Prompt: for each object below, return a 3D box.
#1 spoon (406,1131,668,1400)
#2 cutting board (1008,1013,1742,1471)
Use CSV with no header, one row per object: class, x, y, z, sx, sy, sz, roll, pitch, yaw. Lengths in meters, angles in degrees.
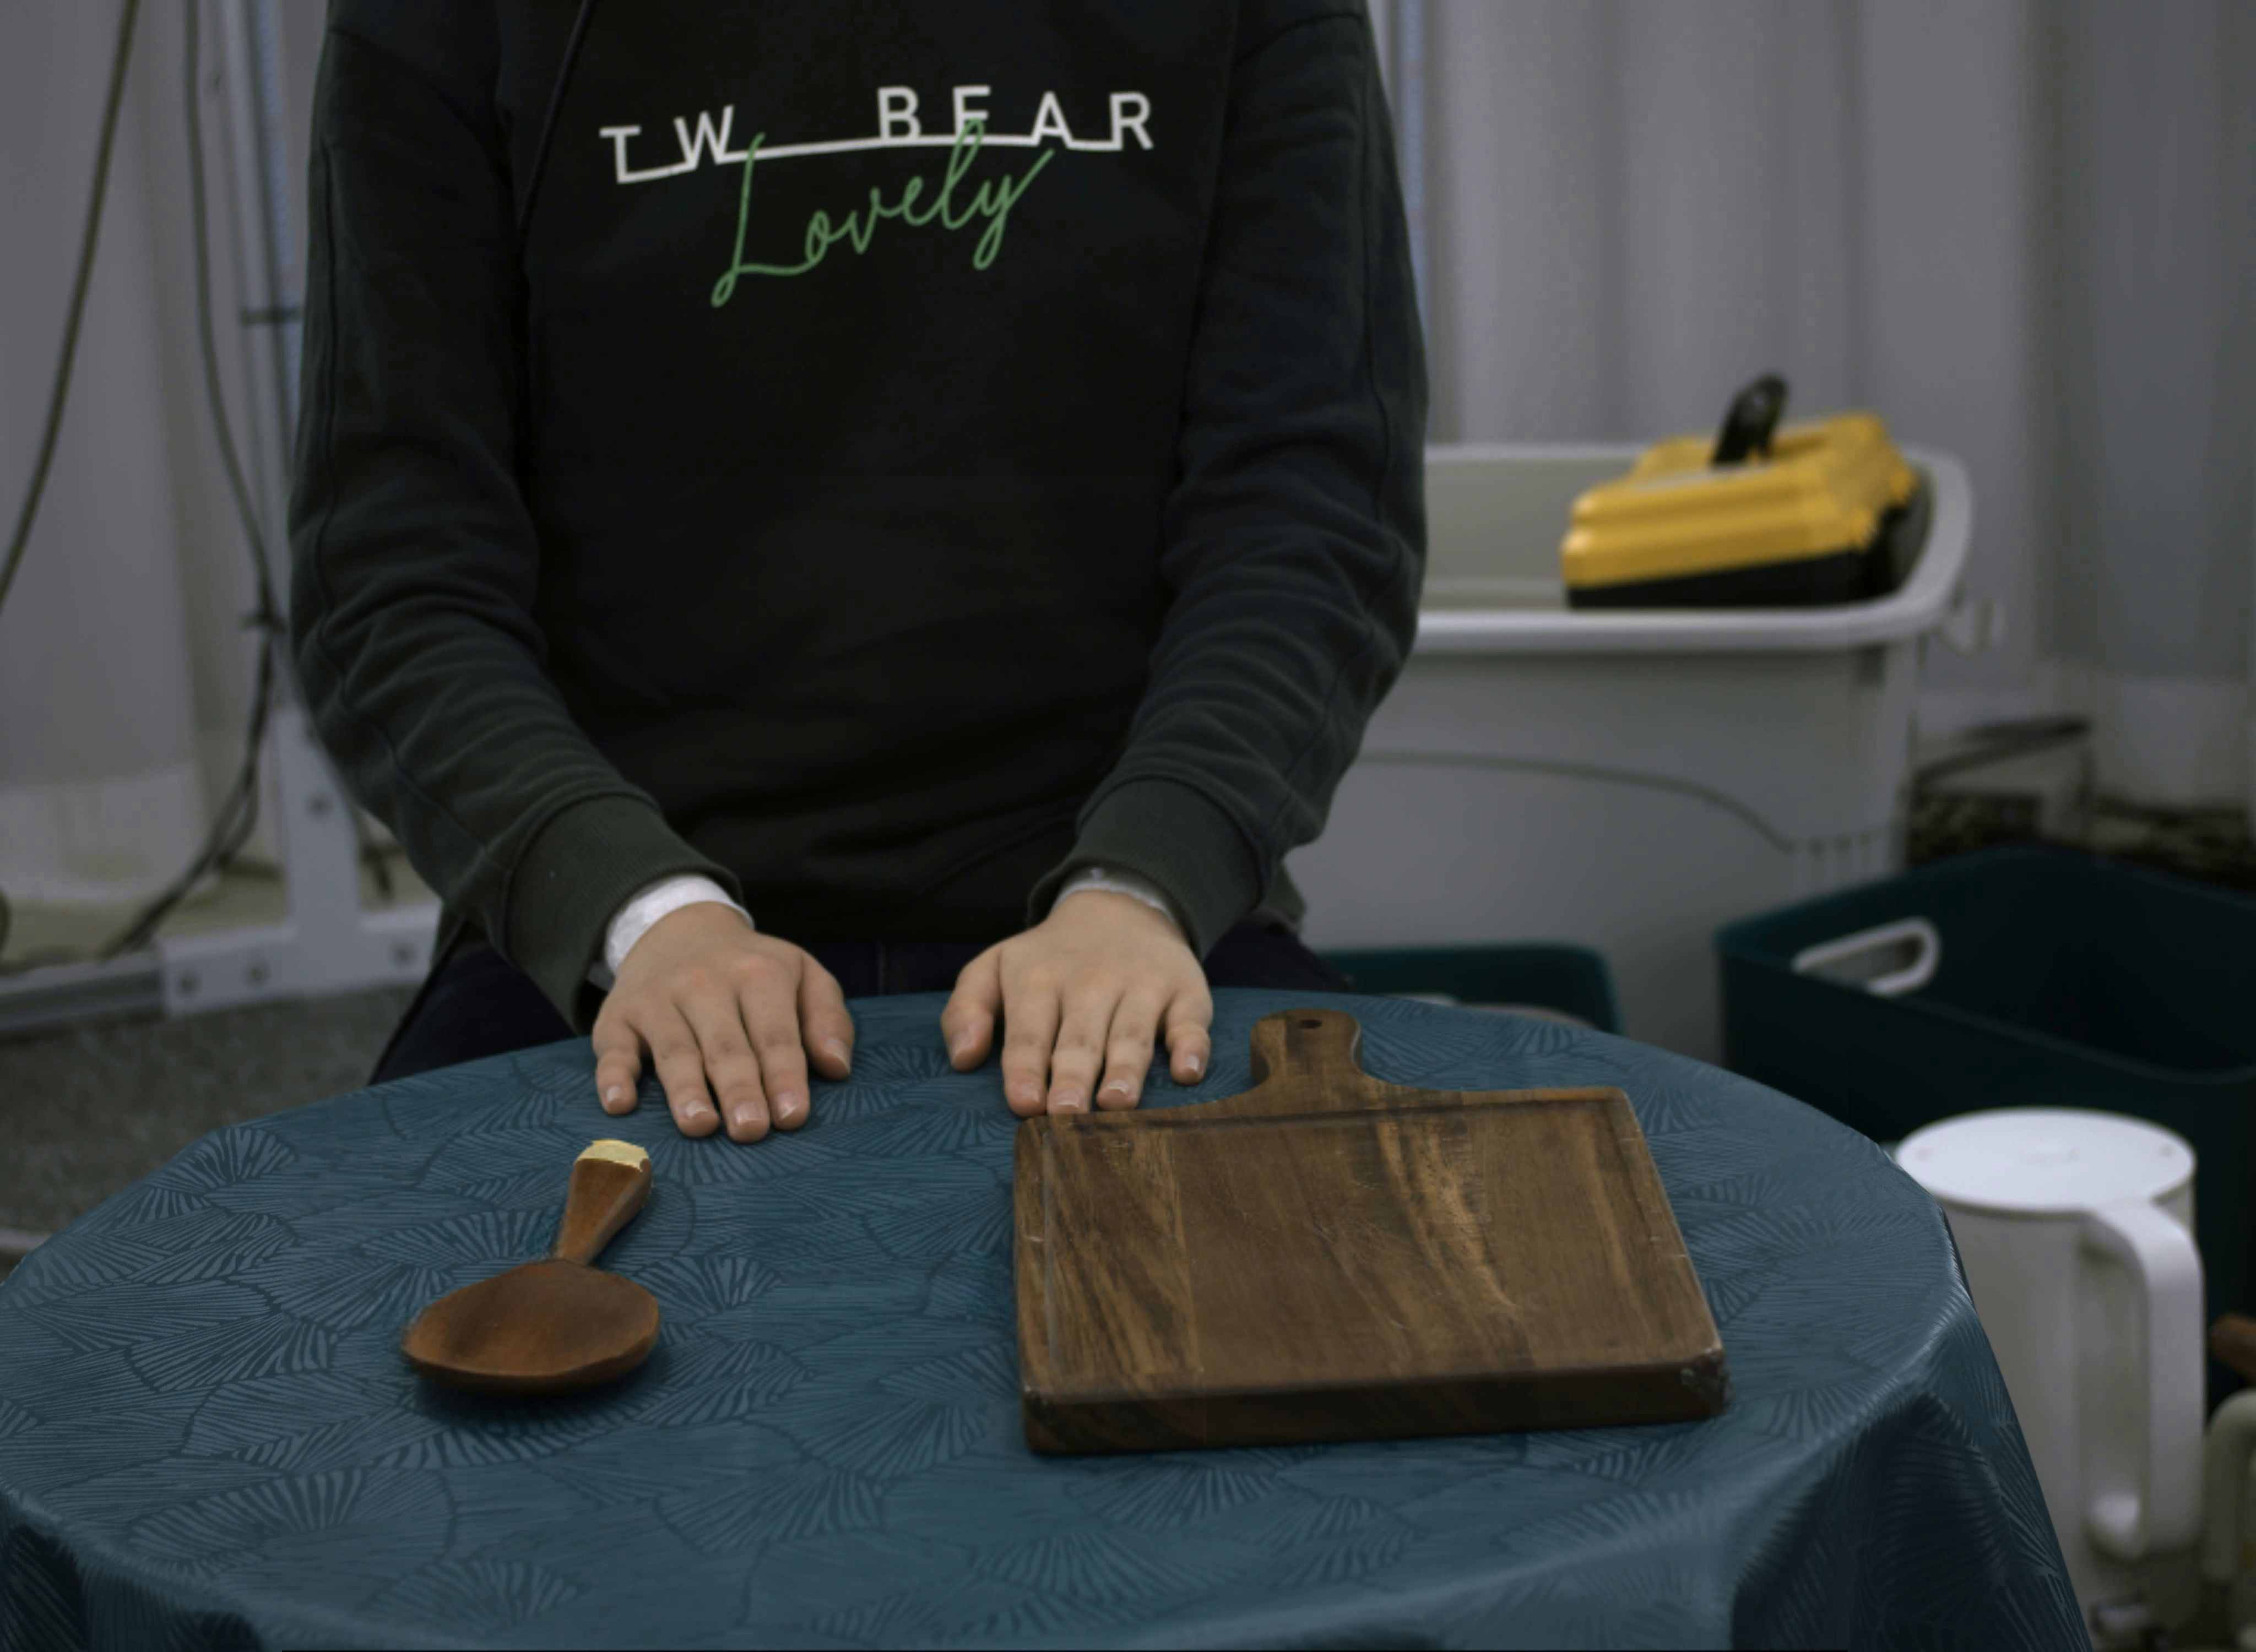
spoon,-0.167,0.133,1.643,0.075,0.017,0.217,-4,15,4
cutting board,0.064,0.117,1.662,0.200,0.023,0.354,-4,15,-1
